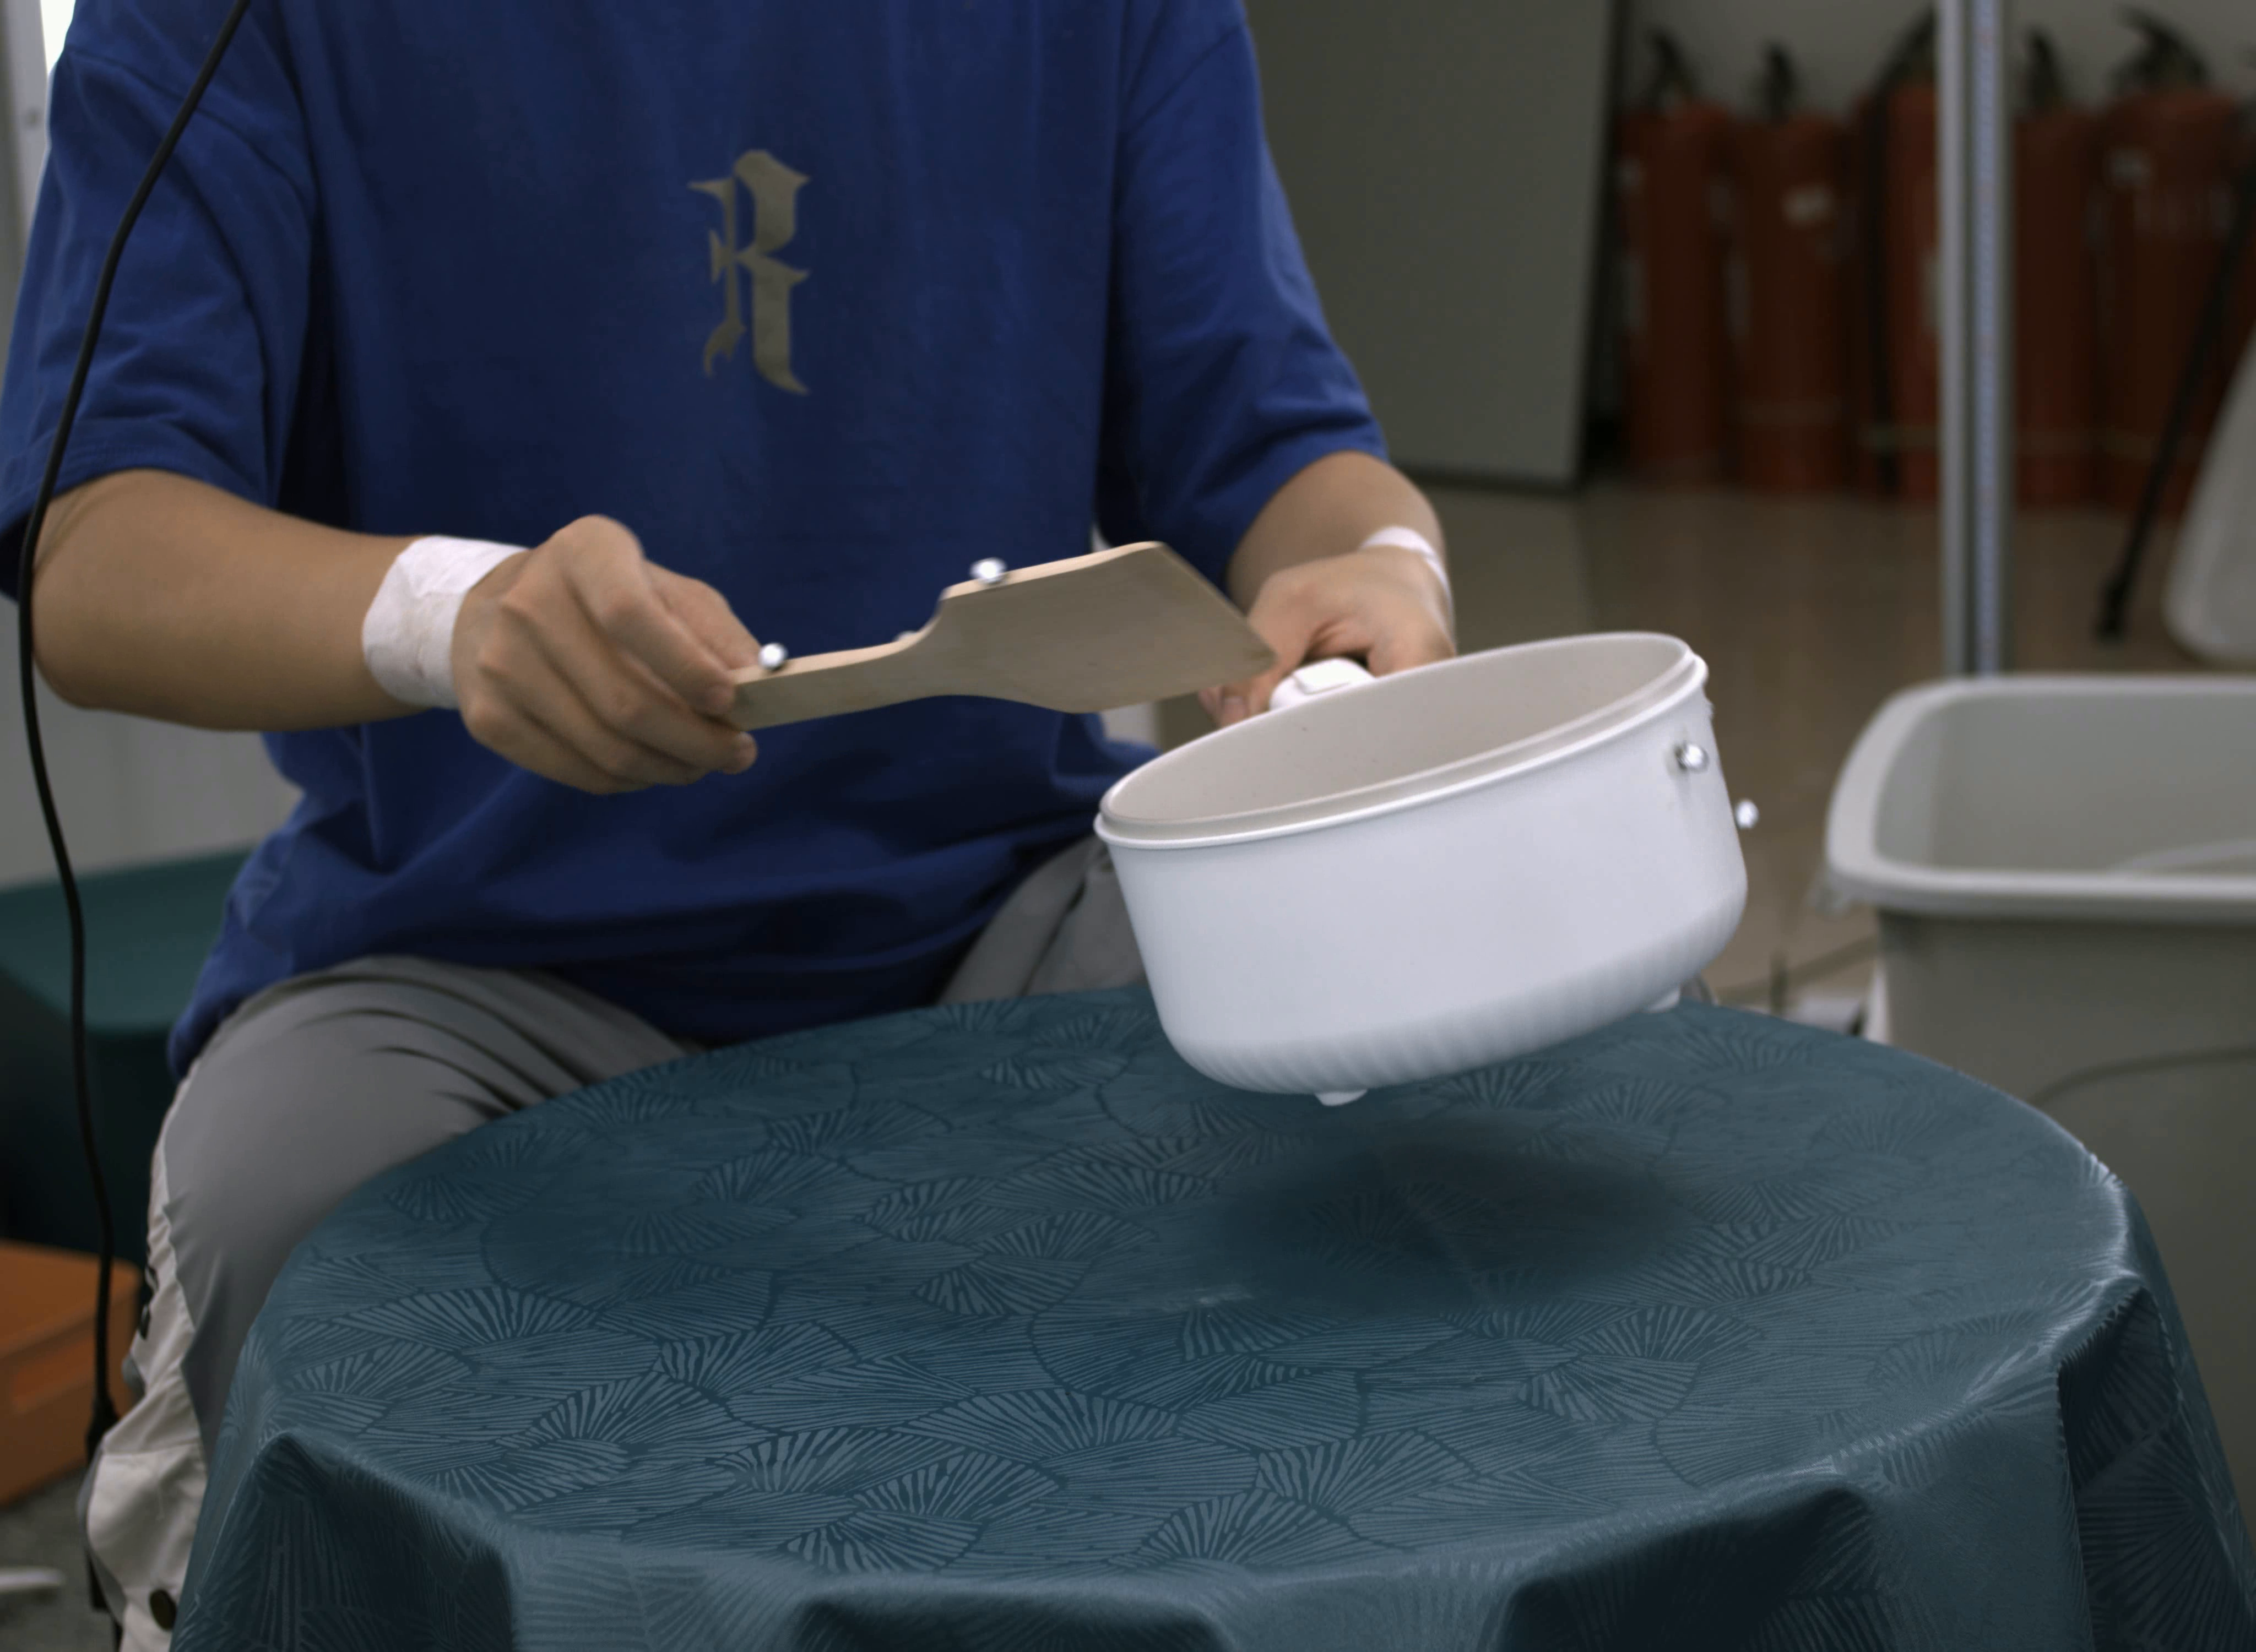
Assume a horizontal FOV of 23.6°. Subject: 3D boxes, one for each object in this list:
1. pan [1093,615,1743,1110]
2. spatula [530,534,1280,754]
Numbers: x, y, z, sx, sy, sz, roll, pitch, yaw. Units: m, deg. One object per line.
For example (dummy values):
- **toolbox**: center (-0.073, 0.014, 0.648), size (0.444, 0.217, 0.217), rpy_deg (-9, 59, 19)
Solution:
- **pan**: center (0.088, 0.003, 1.787), size (0.199, 0.103, 0.356), rpy_deg (-19, 10, -3)
- **spatula**: center (-0.084, -0.050, 1.722), size (0.295, 0.071, 0.011), rpy_deg (-9, 51, 39)
